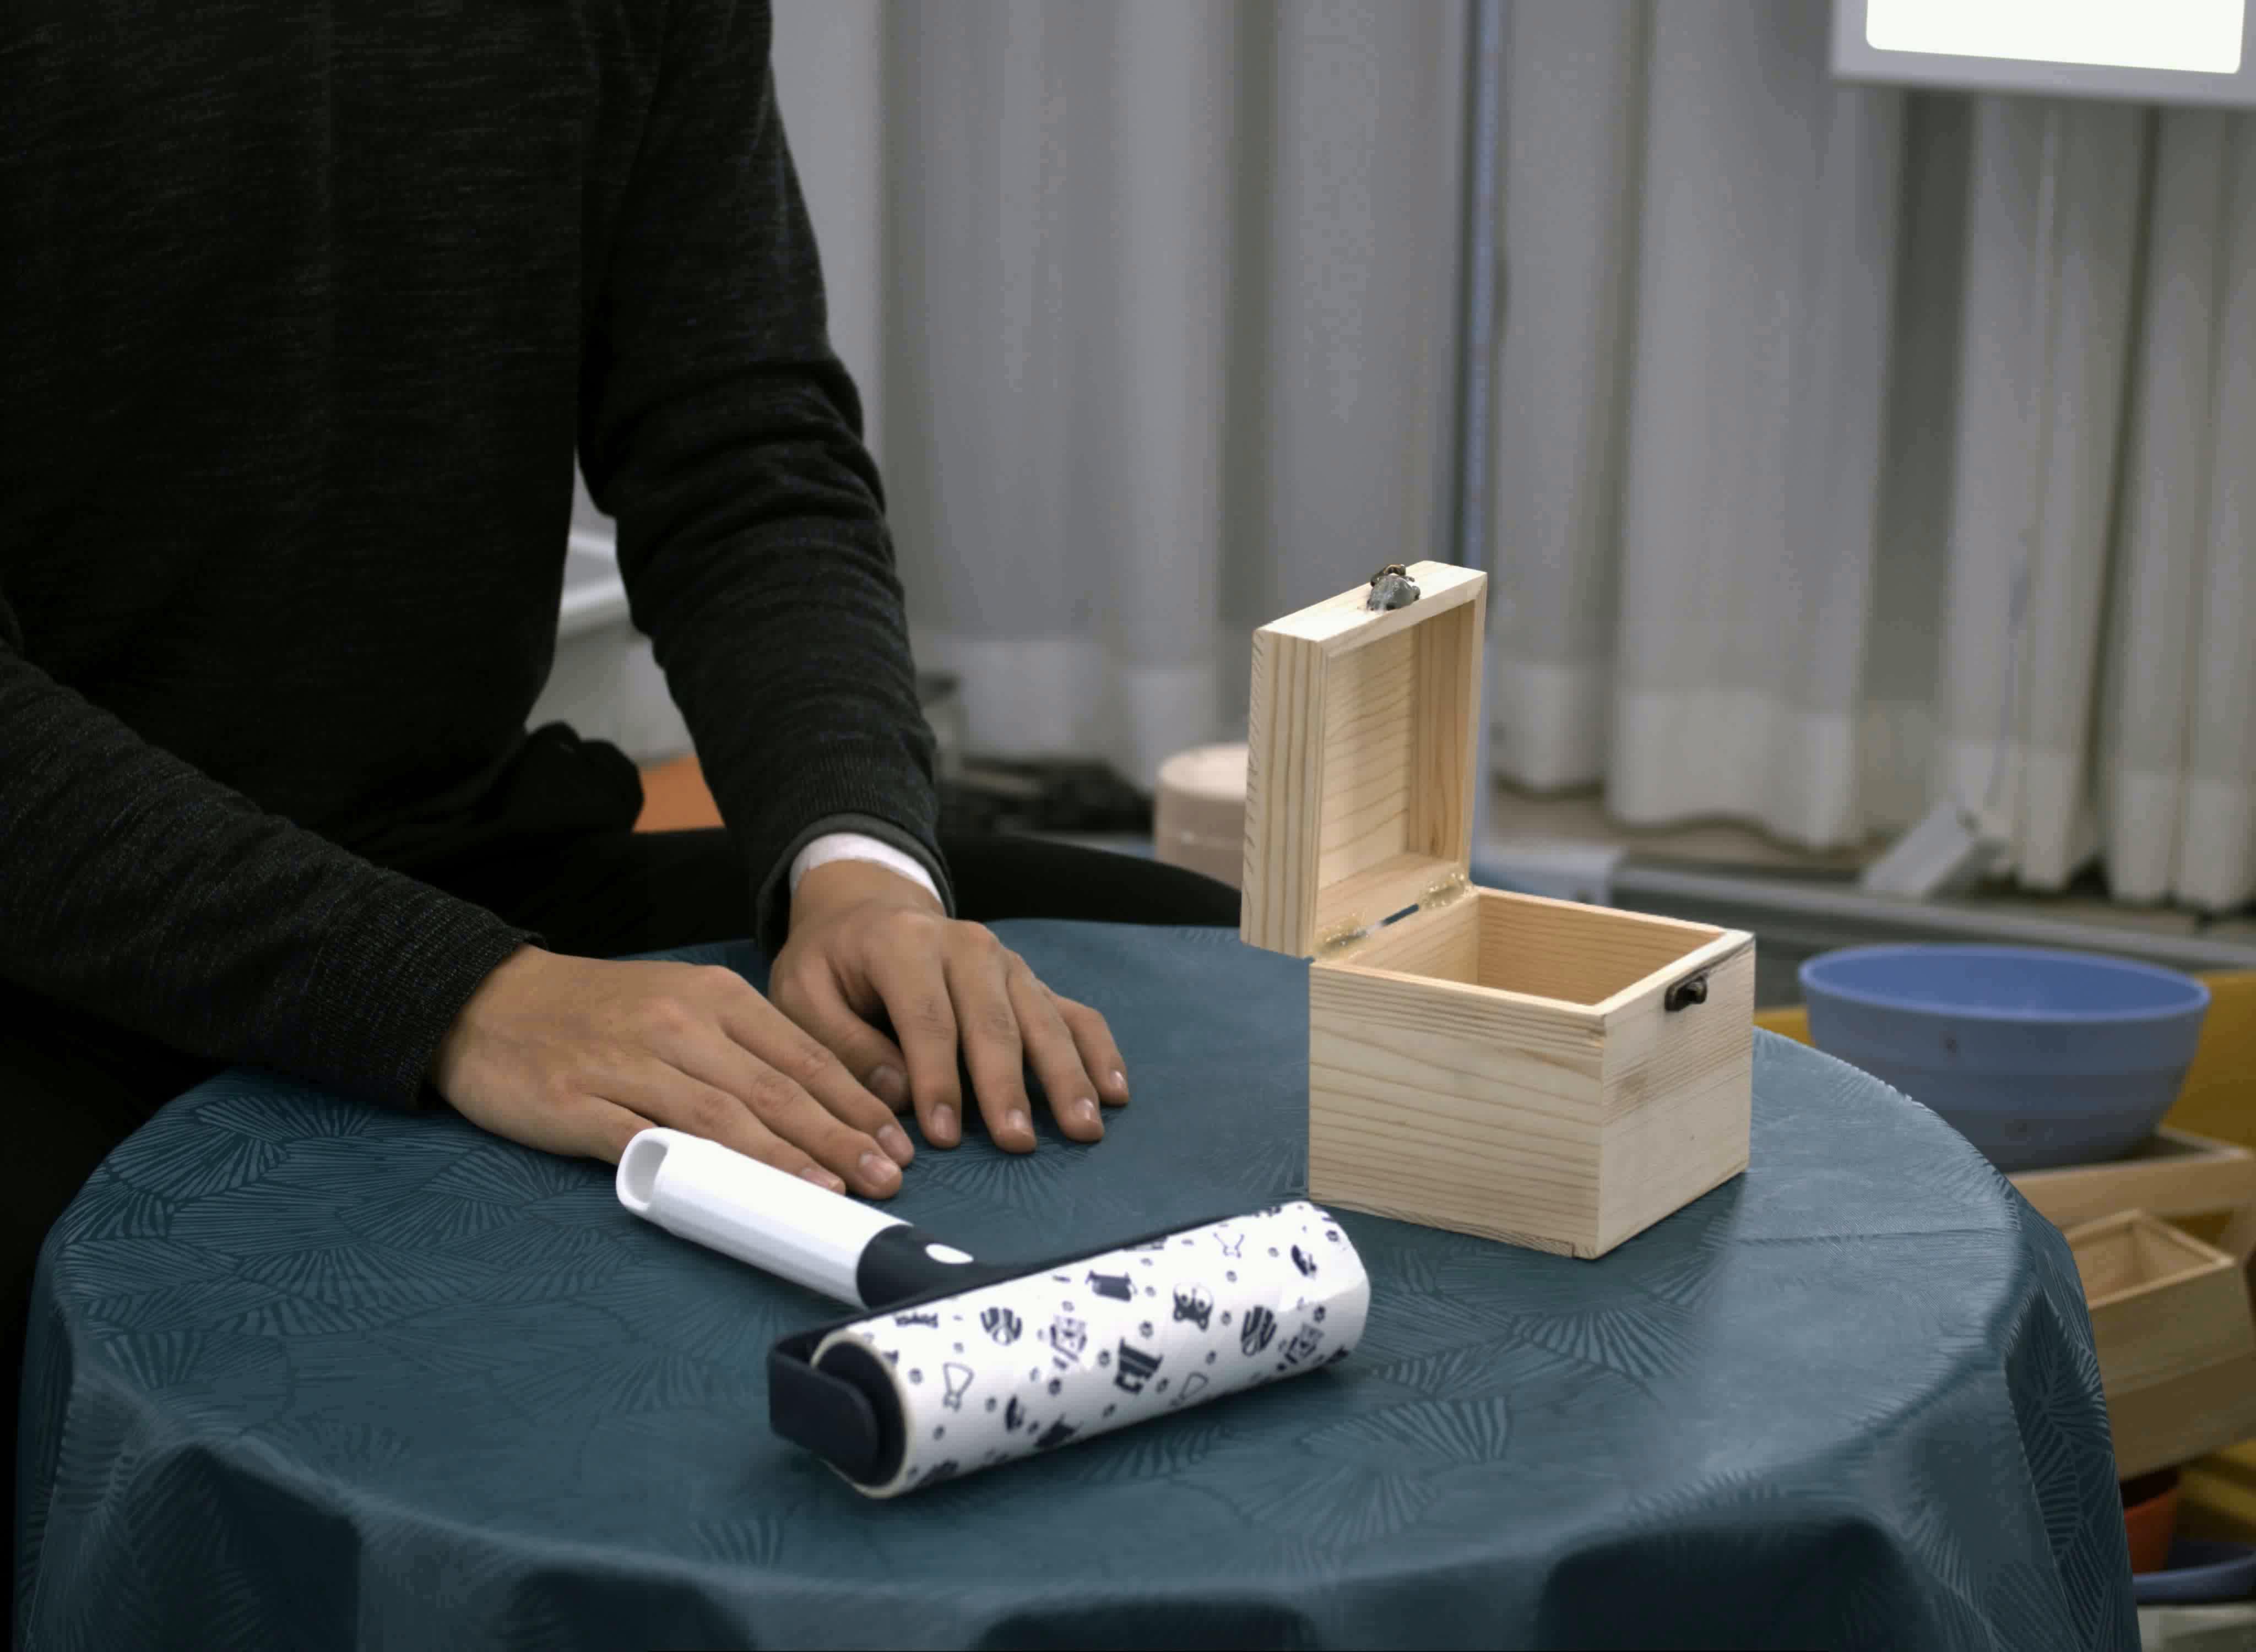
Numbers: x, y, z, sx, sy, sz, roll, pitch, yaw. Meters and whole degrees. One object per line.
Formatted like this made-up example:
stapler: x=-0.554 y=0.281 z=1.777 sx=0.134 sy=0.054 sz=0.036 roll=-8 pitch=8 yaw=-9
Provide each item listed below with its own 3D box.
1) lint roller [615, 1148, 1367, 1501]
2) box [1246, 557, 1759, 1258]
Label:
lint roller: x=-0.074 y=0.122 z=1.503 sx=0.177 sy=0.051 sz=0.244 roll=-13 pitch=20 yaw=-38
box: x=0.117 y=0.021 z=1.607 sx=0.132 sy=0.186 sz=0.103 roll=10 pitch=19 yaw=31
